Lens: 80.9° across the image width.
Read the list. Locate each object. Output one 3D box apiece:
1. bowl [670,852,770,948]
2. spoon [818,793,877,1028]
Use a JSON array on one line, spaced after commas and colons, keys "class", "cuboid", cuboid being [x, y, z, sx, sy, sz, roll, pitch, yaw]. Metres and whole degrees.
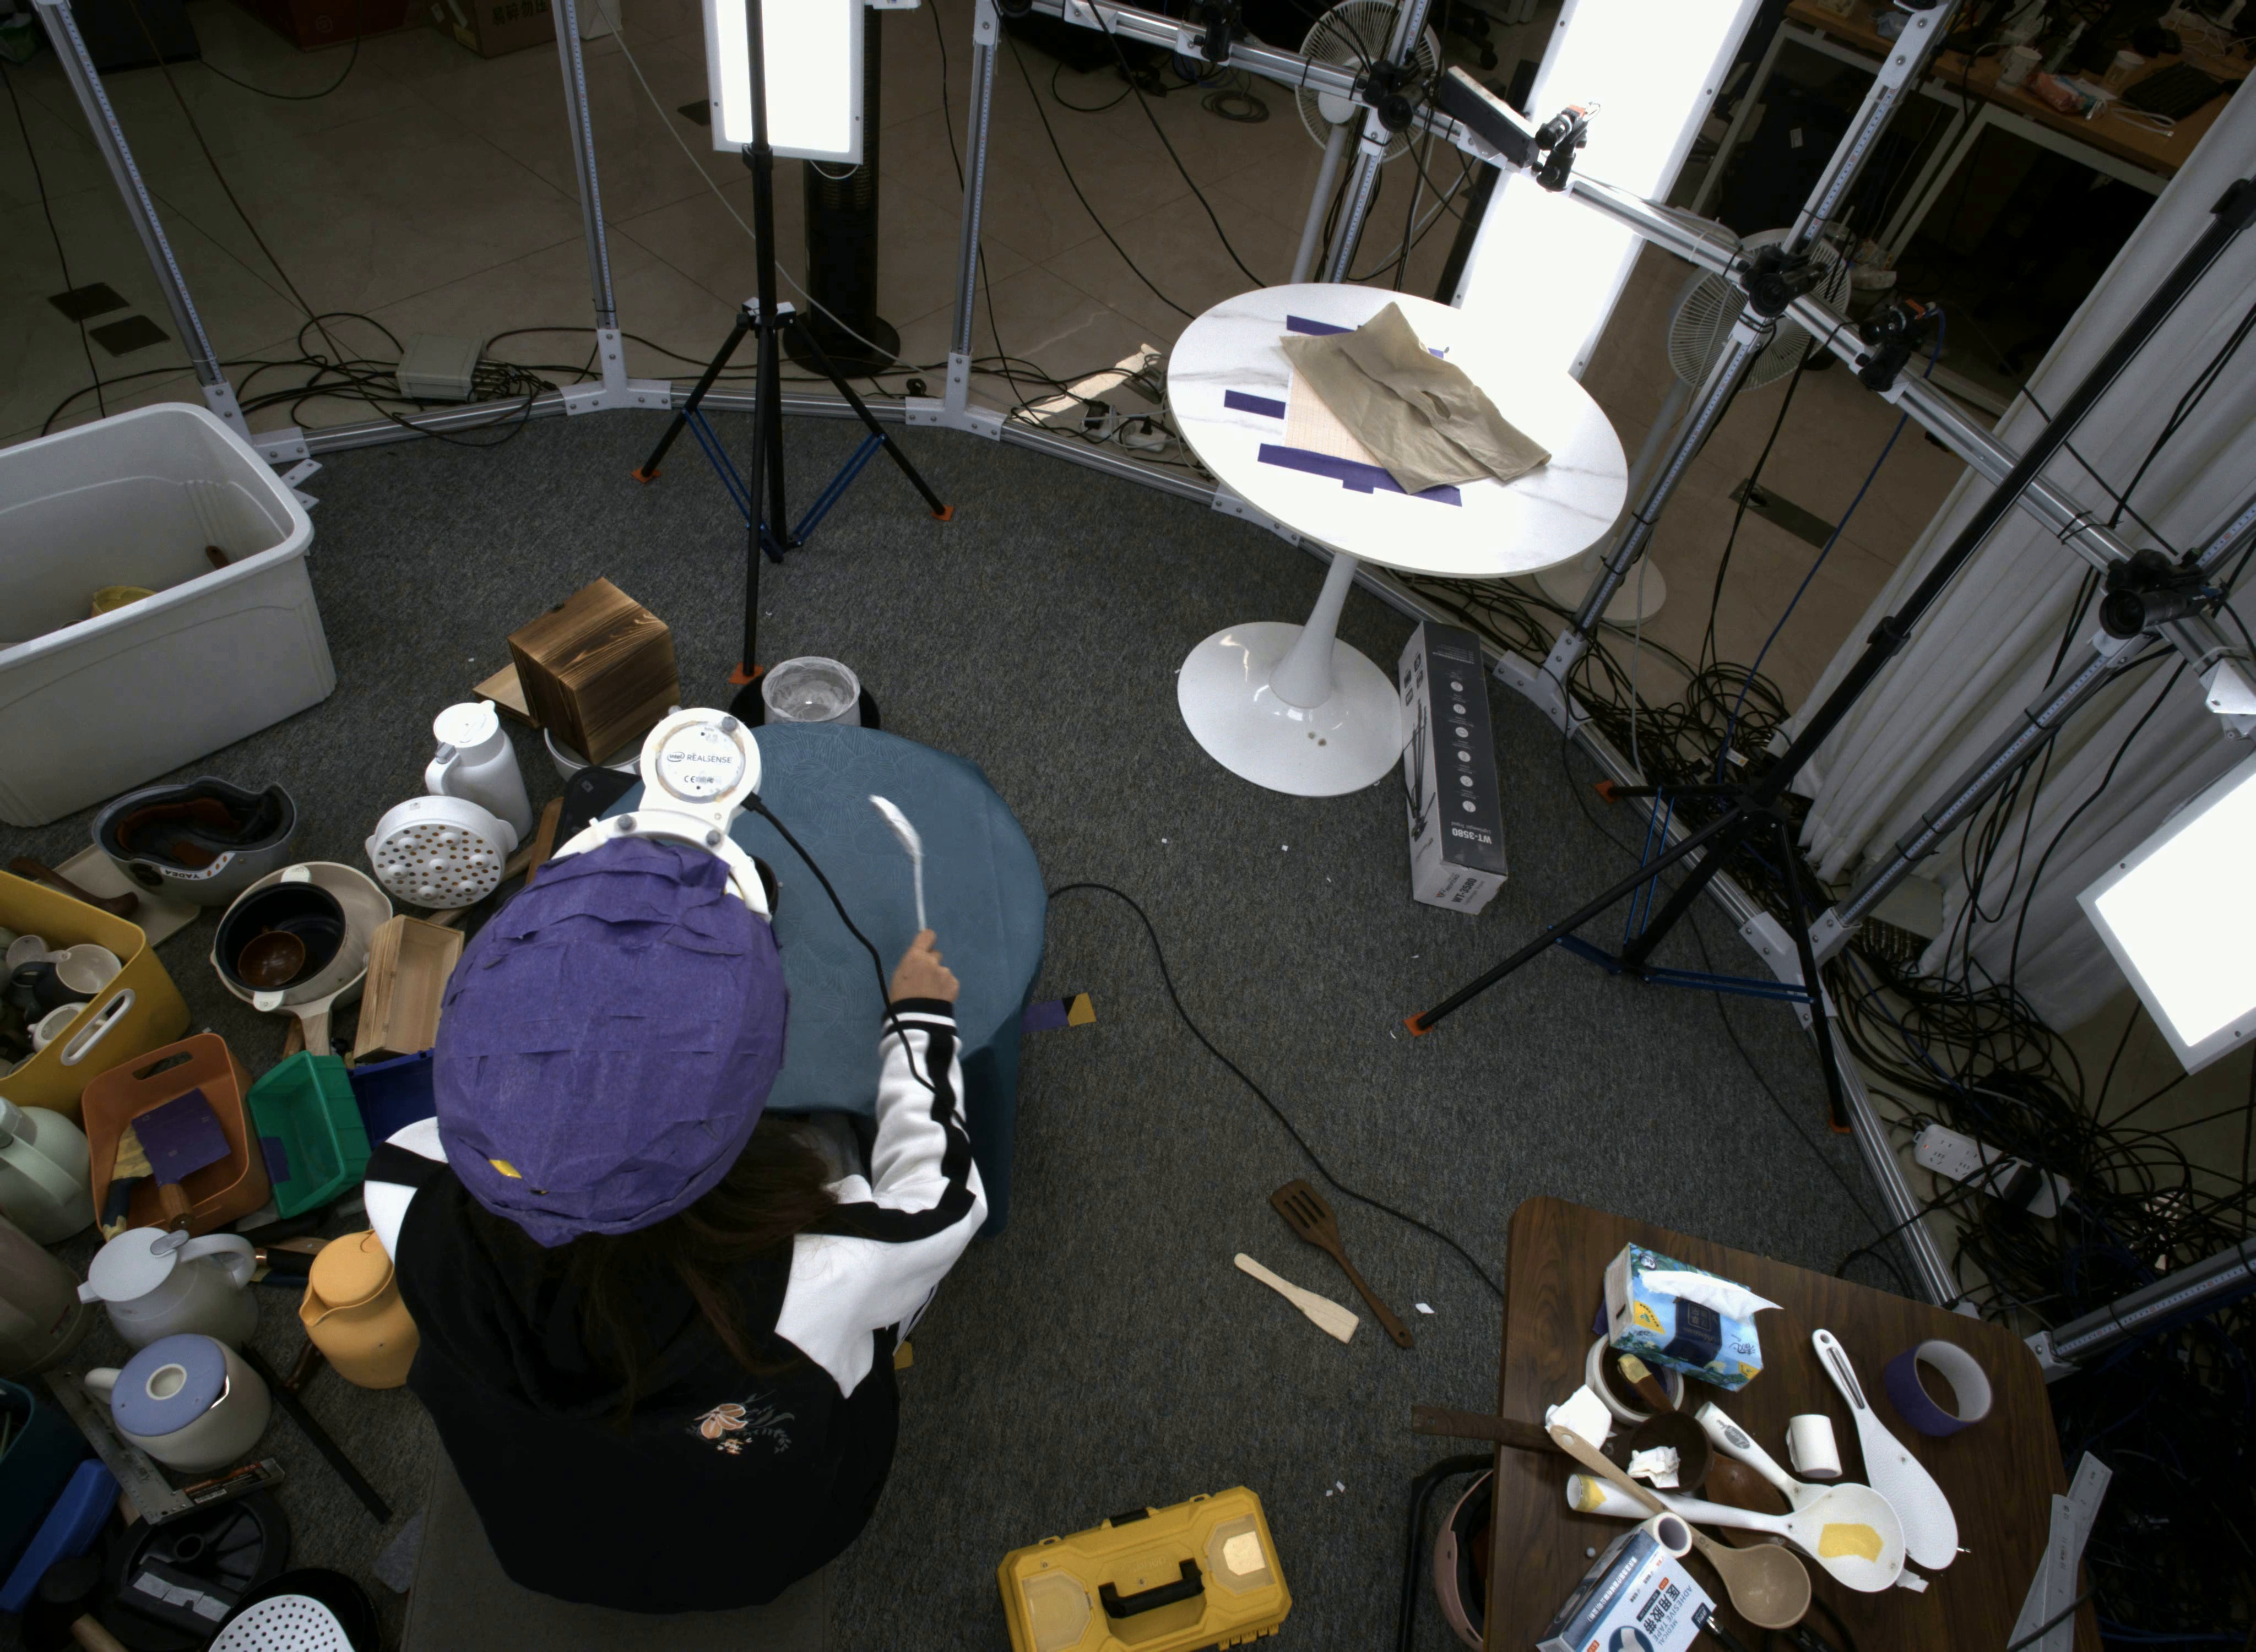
[{"class": "bowl", "cuboid": [-0.498, 0.096, 1.580, 0.118, 0.071, 0.116, 7, 52, -8]}, {"class": "spoon", "cuboid": [-0.324, 0.096, 1.493, 0.060, 0.100, 0.274, 6, 64, -28]}]
